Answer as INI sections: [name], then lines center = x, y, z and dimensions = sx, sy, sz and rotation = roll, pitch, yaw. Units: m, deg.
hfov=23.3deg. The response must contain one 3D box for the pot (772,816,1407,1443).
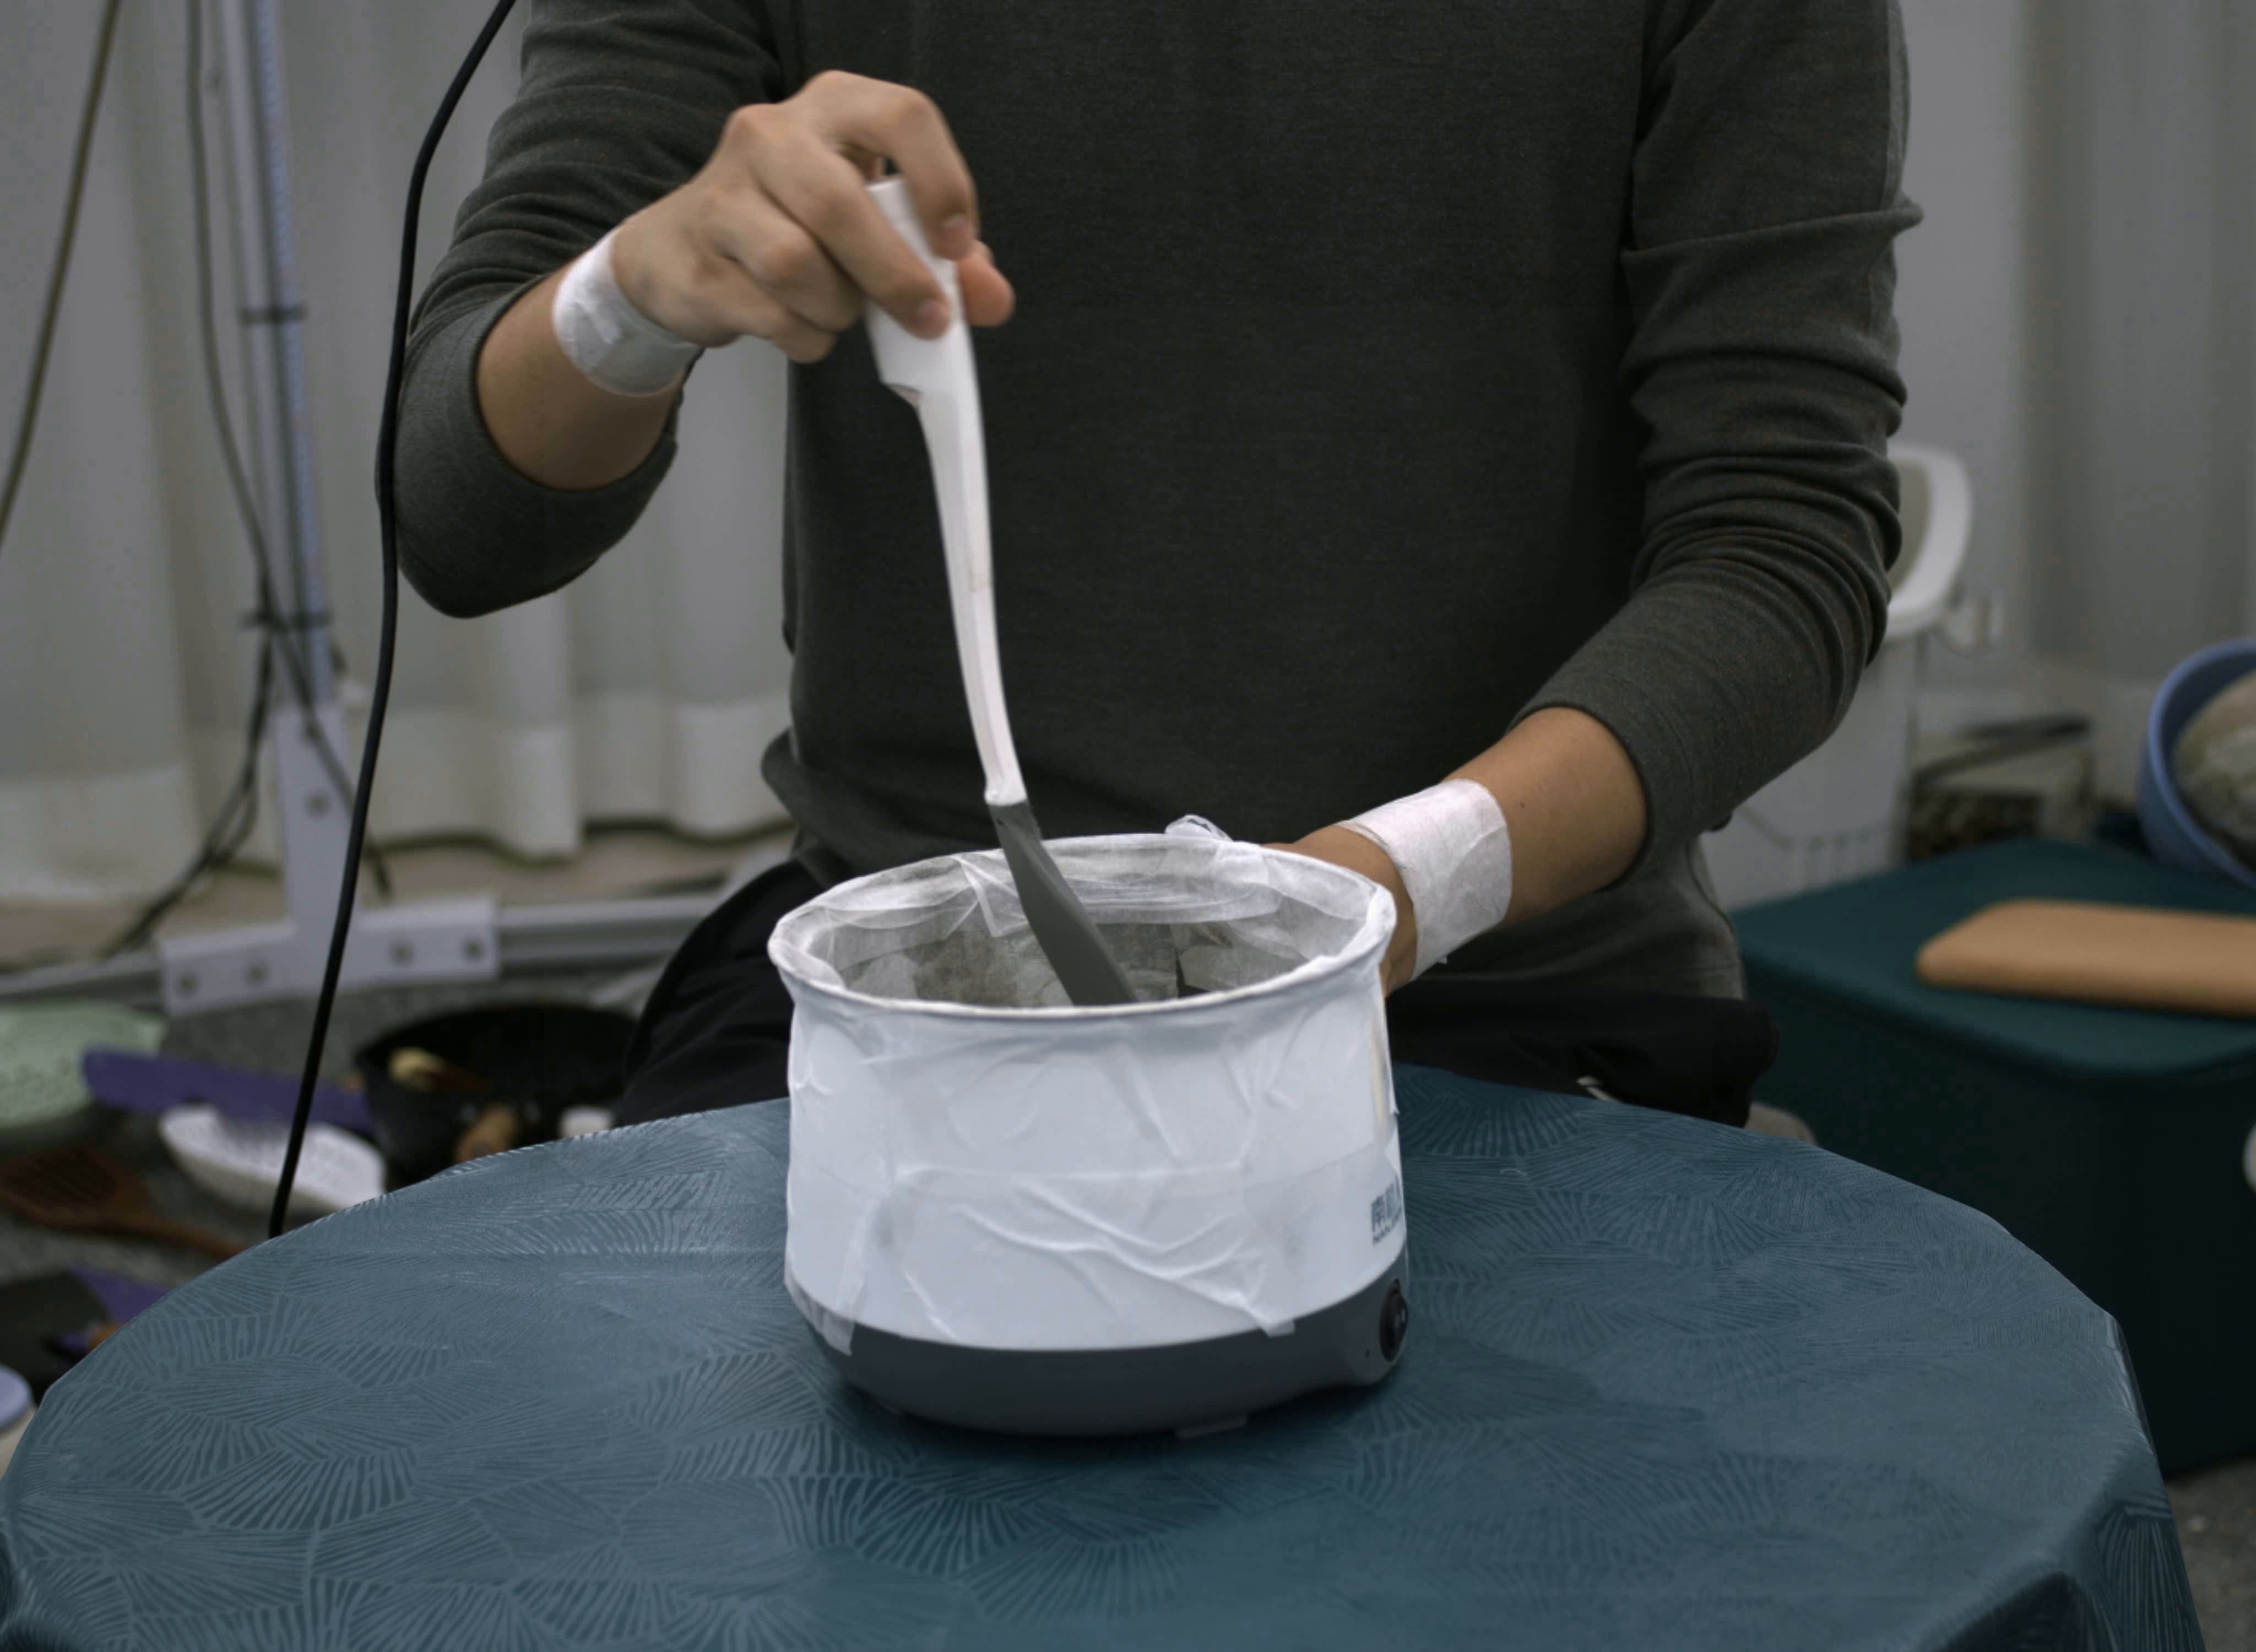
[pot]
center = -0.001, 0.081, 1.580
dimensions = 0.179, 0.136, 0.234
rotation = 2, 15, 18

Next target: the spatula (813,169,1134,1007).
[spatula]
center = -0.035, -0.046, 1.574
dimensions = 0.032, 0.287, 0.059
rotation = -19, 8, -21
